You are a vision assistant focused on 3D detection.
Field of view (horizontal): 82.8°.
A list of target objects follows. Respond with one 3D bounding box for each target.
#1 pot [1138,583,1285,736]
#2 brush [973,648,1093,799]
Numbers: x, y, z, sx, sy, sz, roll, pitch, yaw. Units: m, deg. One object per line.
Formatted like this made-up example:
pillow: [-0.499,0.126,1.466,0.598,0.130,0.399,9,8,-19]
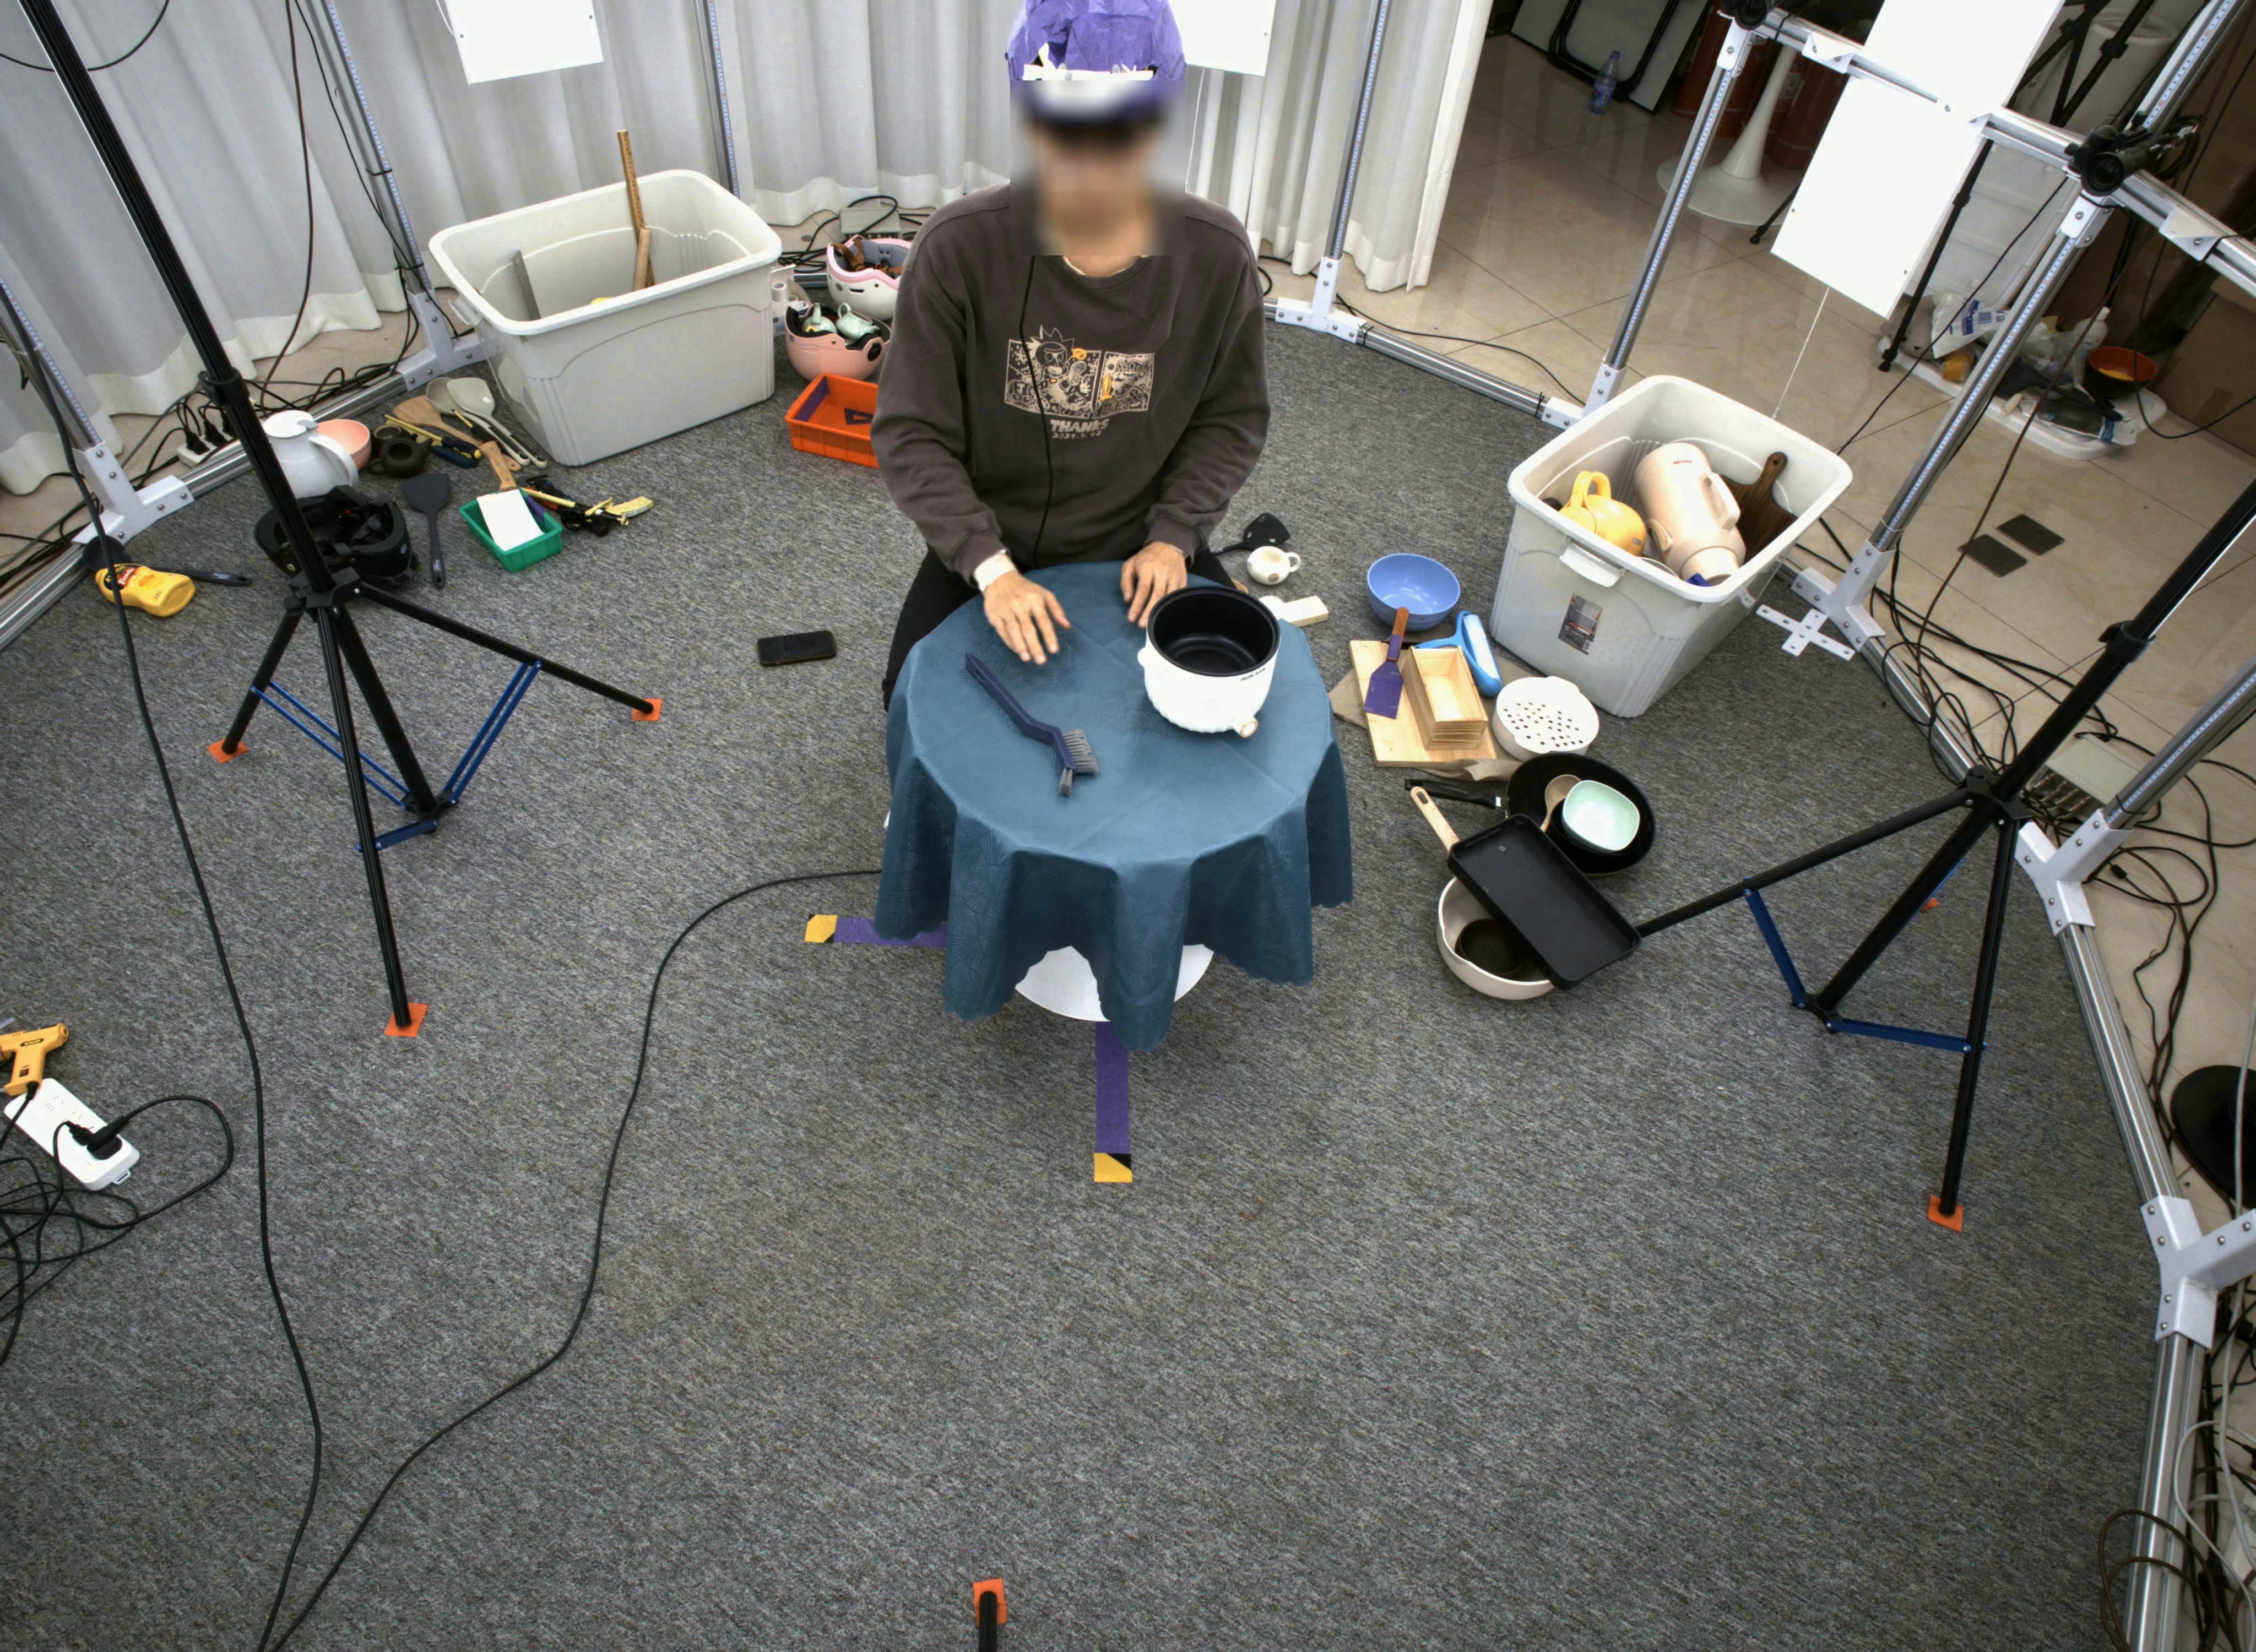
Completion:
pot: [0.118,-0.222,1.776,0.241,0.139,0.194,-27,52,-23]
brush: [-0.149,-0.147,1.764,0.096,0.033,0.277,-34,60,-28]
